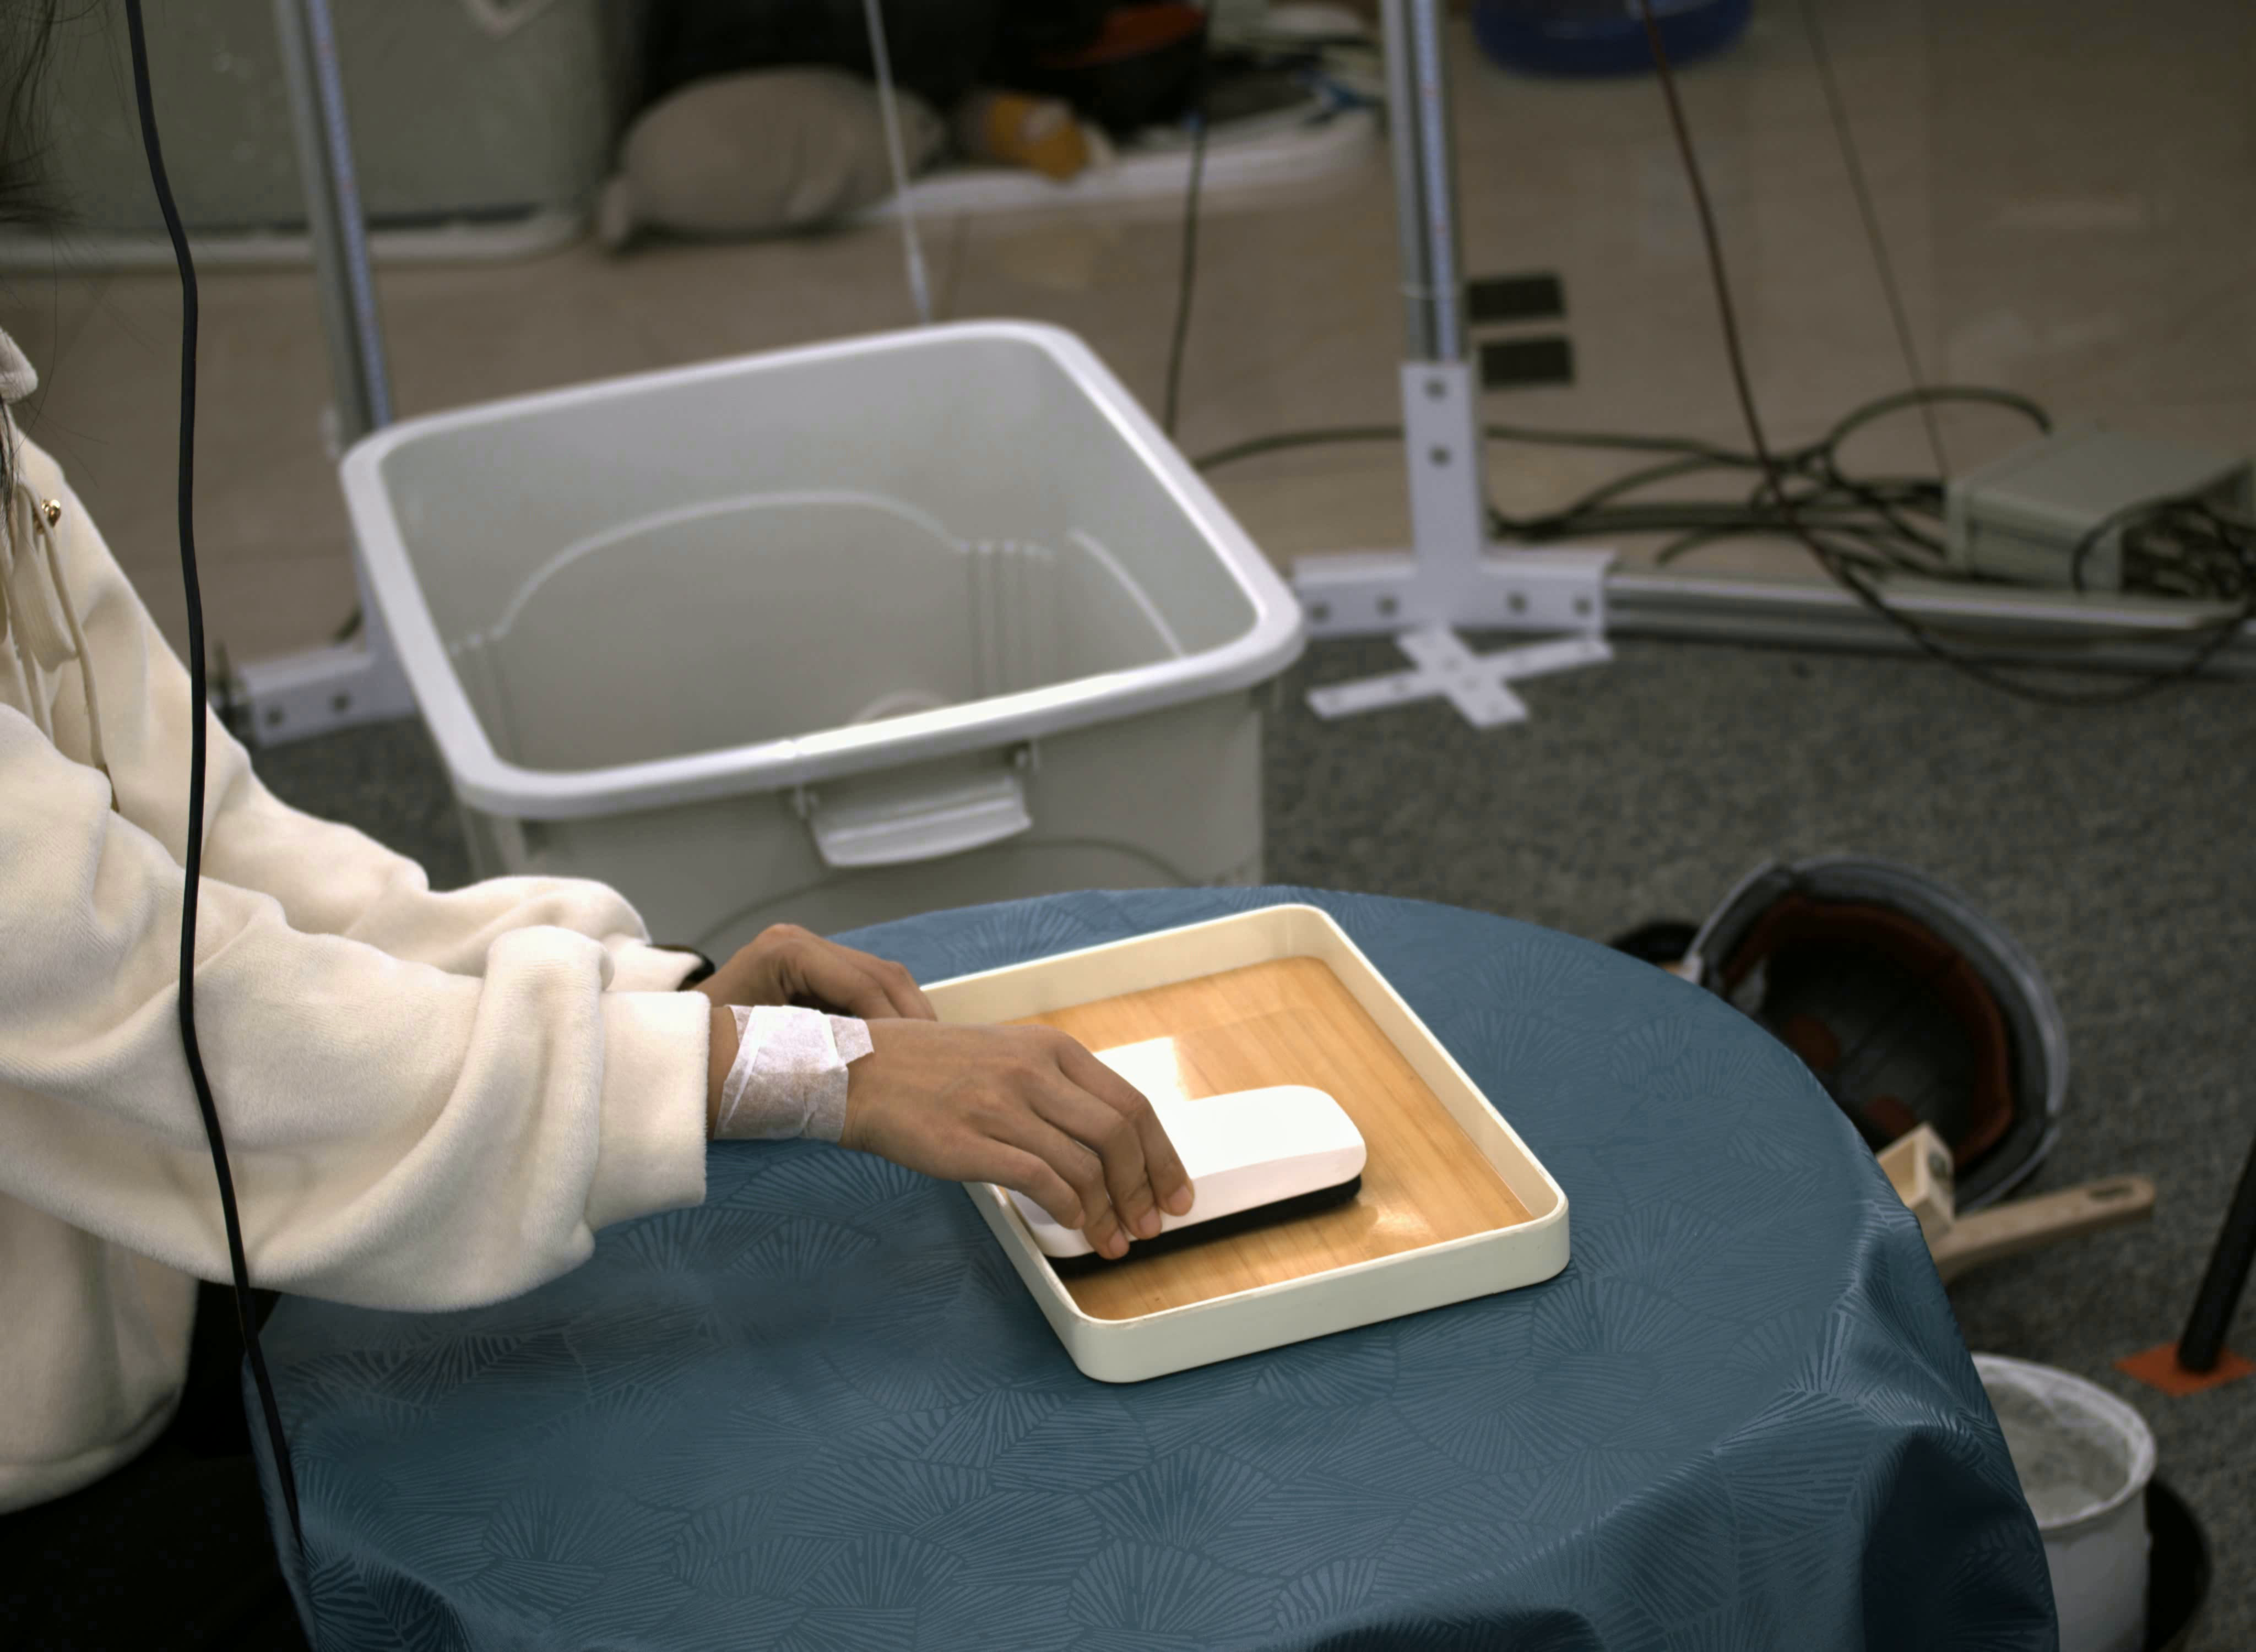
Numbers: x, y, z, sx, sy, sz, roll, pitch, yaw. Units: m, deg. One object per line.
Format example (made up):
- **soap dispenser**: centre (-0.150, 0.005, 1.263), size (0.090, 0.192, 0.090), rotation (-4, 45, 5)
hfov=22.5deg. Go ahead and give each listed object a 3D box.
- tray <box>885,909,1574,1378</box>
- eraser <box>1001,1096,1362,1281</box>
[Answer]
- **tray**: centre (0.033, 0.116, 2.158), size (0.191, 0.028, 0.296), rotation (-12, 25, -13)
- **eraser**: centre (0.020, 0.131, 2.106), size (0.131, 0.035, 0.062), rotation (-13, 24, -12)
